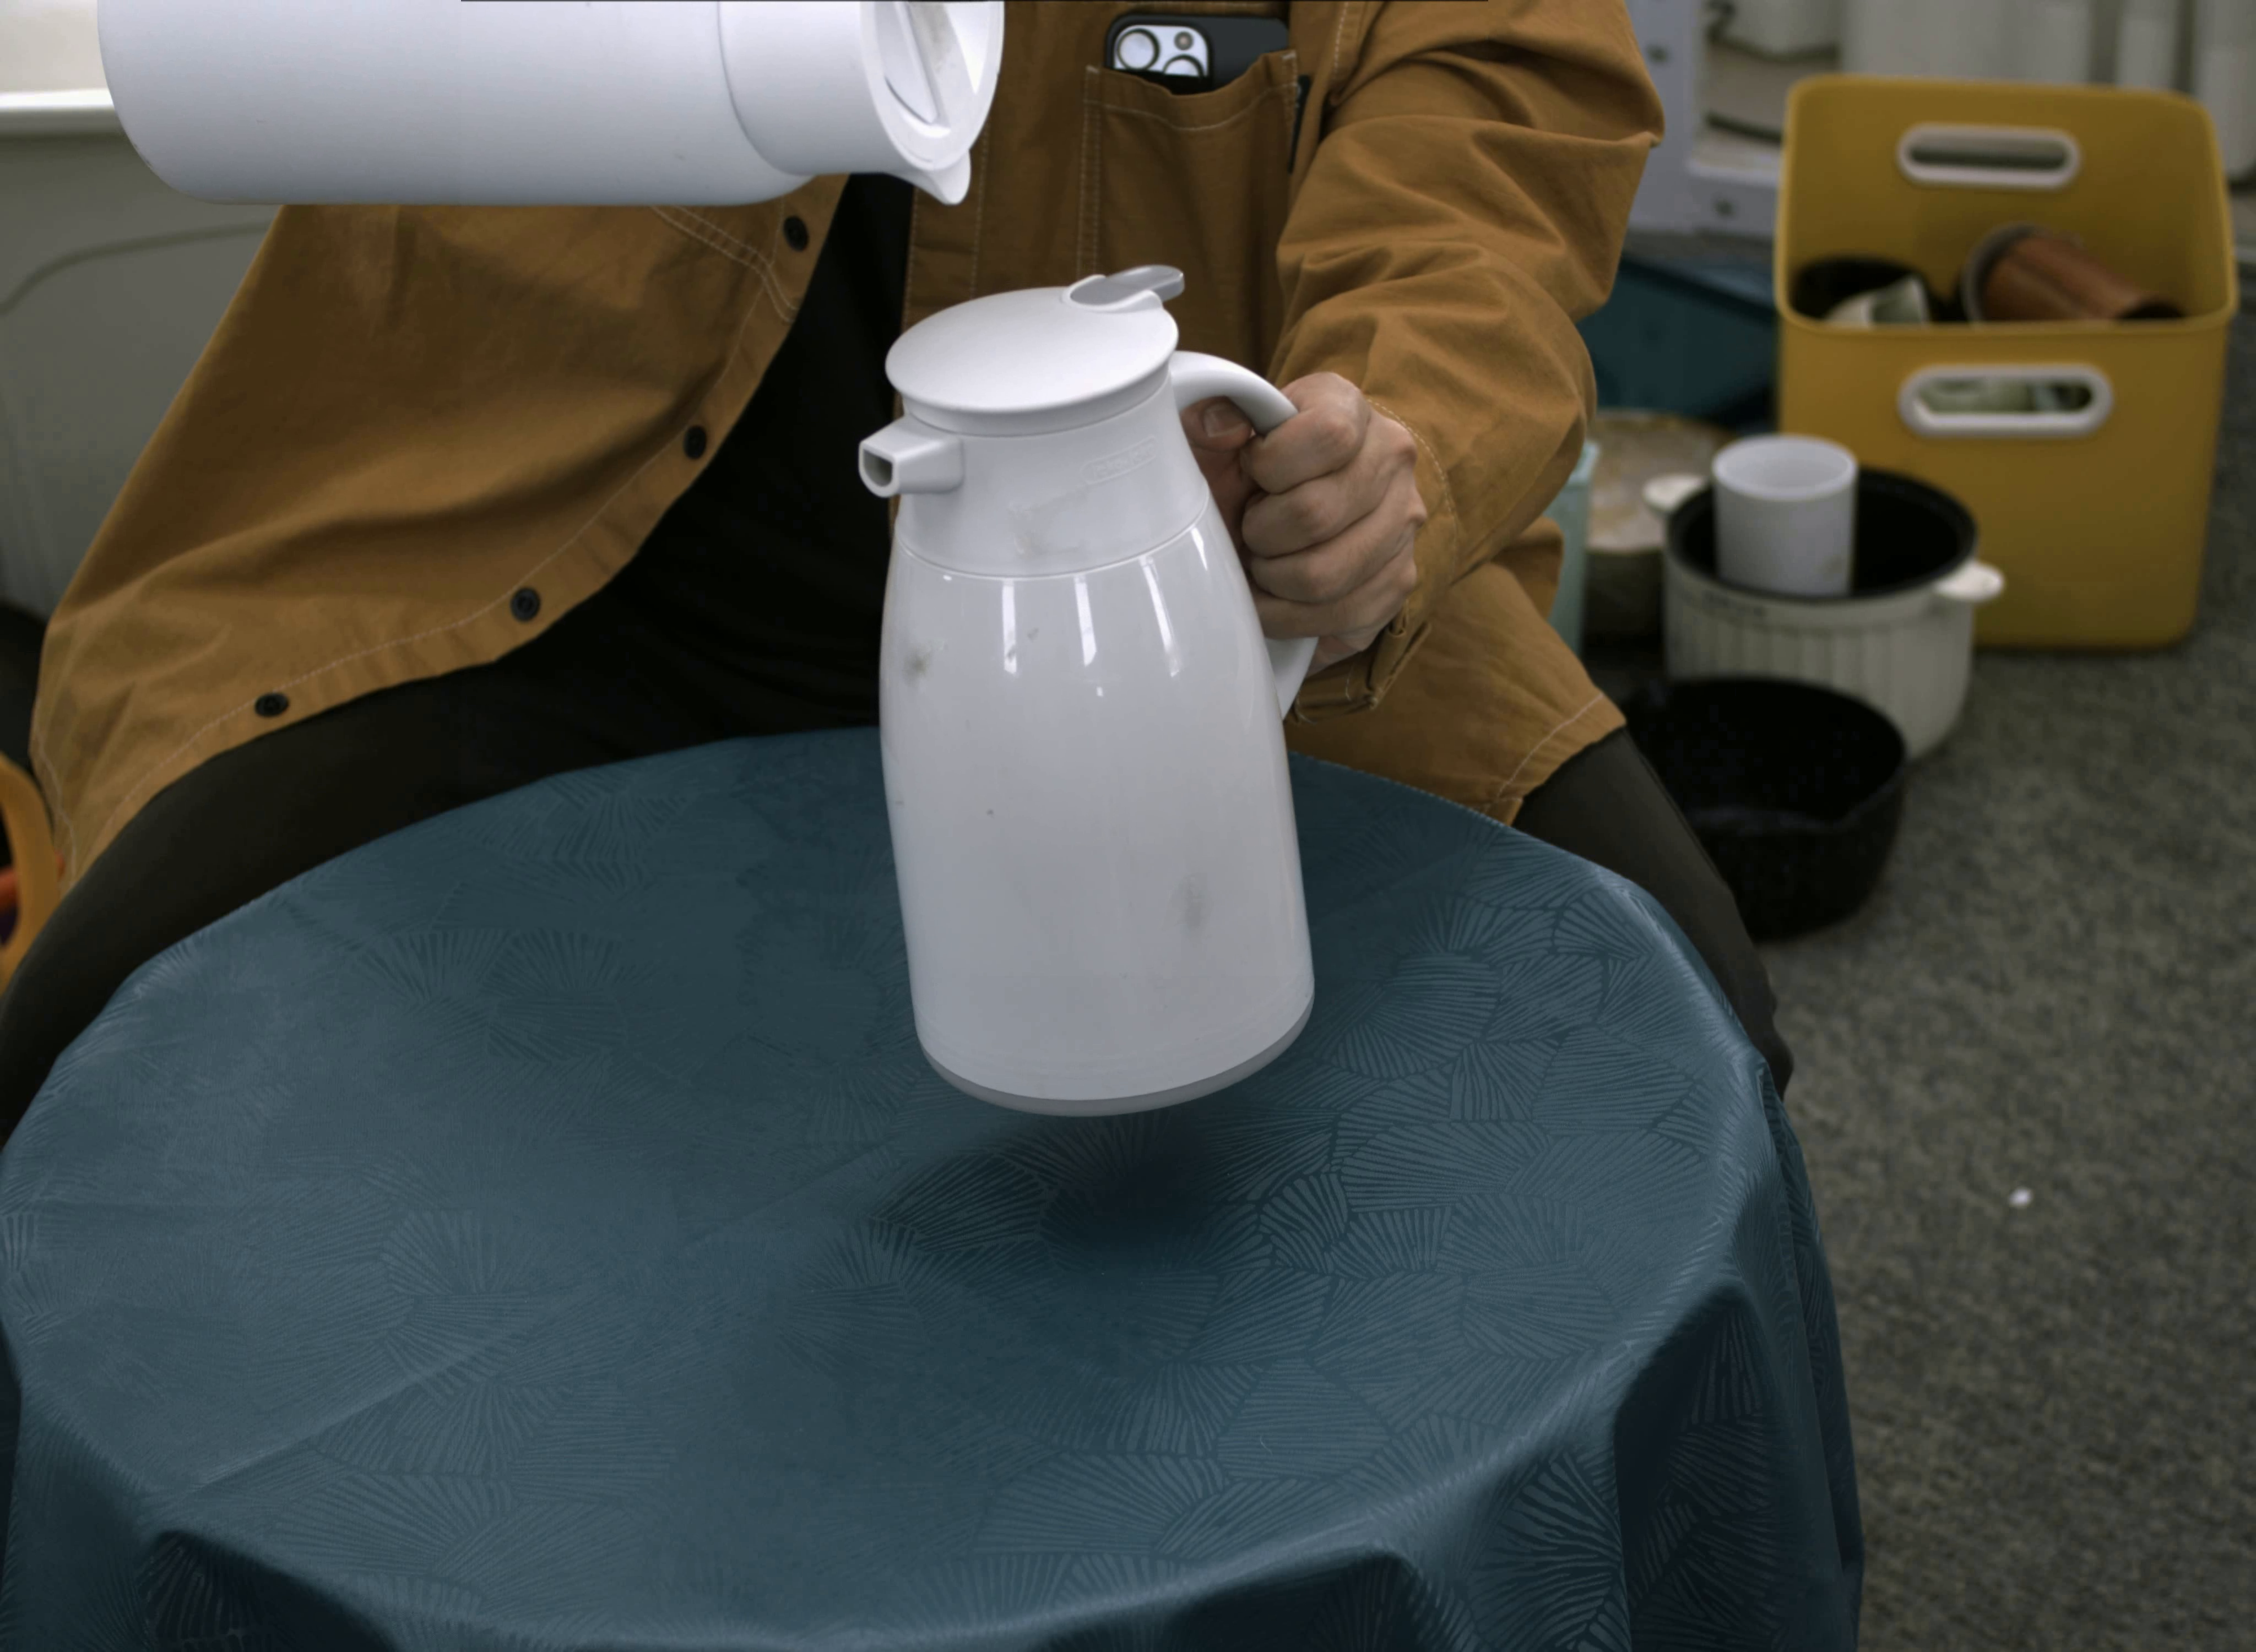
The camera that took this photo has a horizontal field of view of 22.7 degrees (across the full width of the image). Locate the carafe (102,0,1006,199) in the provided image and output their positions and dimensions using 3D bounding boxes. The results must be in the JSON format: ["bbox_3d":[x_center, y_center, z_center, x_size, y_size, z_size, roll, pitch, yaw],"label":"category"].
[{"bbox_3d":[-0.181,-0.265,1.732,0.266,0.171,0.126,3,41,26],"label":"carafe"}]

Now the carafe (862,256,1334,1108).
[{"bbox_3d":[-0.003,-0.057,1.801,0.169,0.246,0.132,-24,31,-31],"label":"carafe"}]
